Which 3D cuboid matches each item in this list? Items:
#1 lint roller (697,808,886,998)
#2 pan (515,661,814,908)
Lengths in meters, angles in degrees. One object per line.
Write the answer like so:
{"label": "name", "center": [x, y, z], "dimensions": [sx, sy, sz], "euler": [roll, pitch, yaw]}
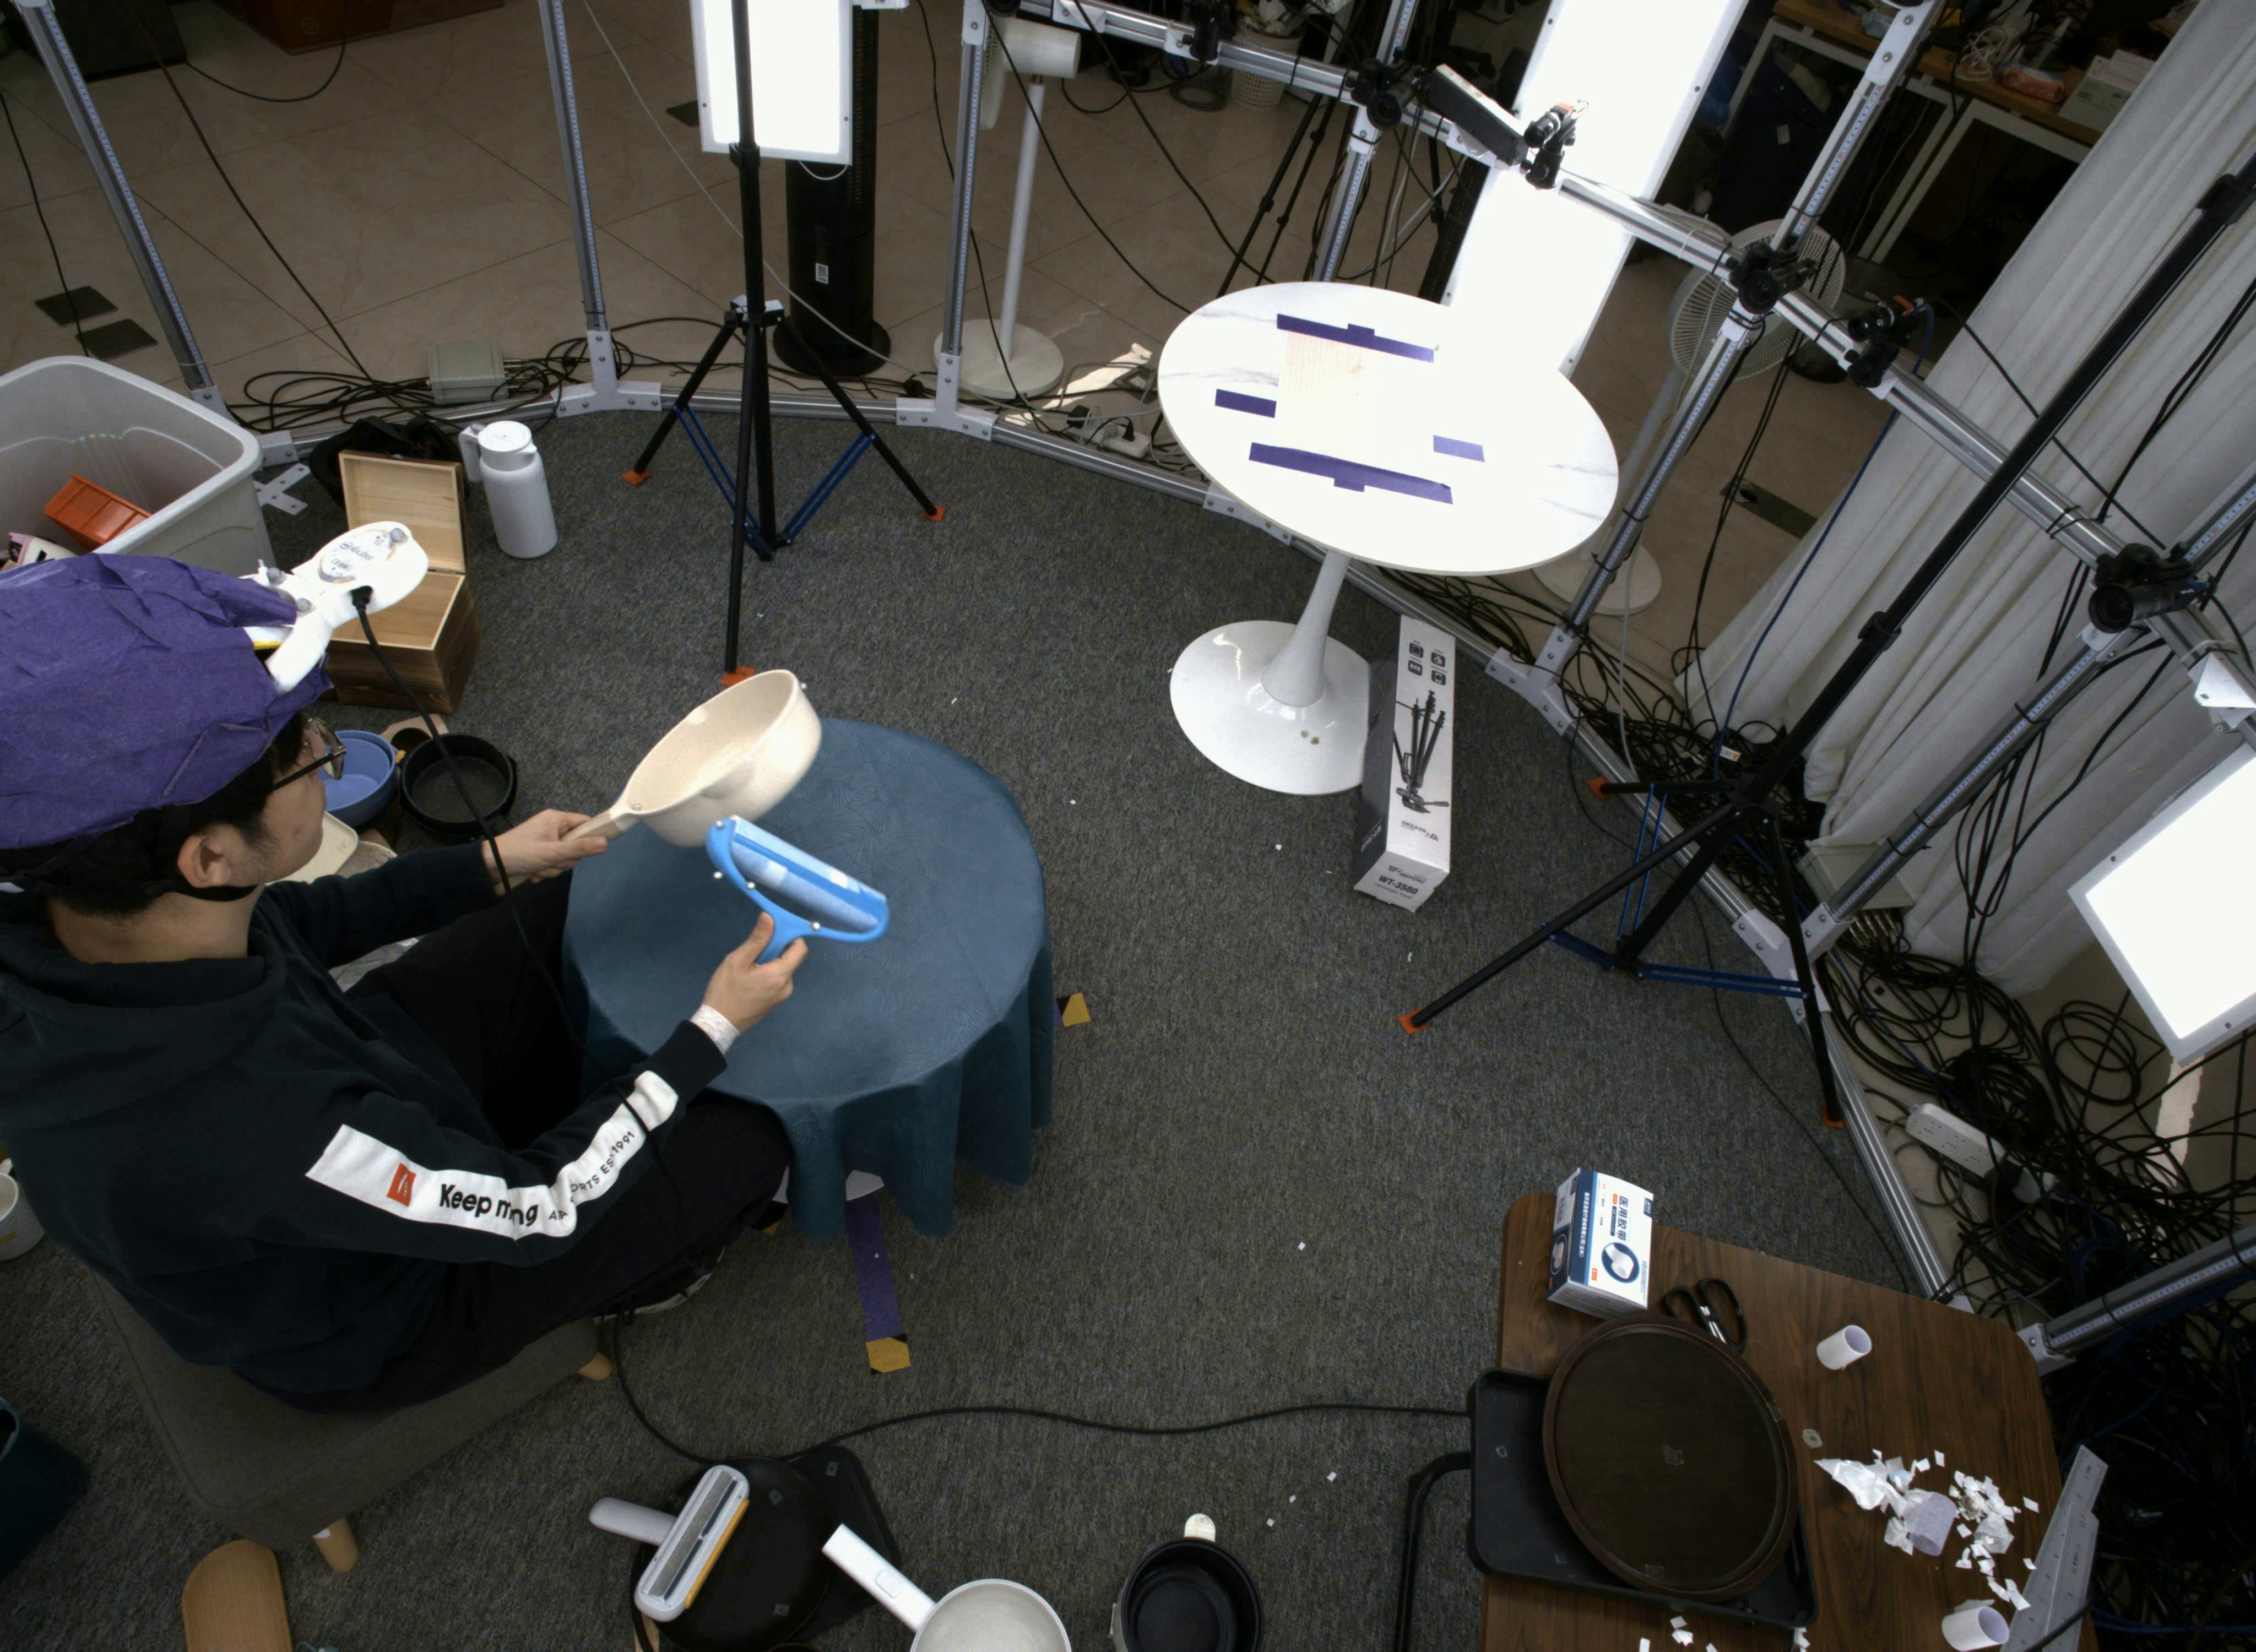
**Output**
{"label": "lint roller", "center": [-0.382, 0.101, 1.403], "dimensions": [0.236, 0.066, 0.180], "euler": [28, 74, -36]}
{"label": "pan", "center": [-0.553, -0.027, 1.511], "dimensions": [0.434, 0.106, 0.254], "euler": [-40, 33, -8]}
